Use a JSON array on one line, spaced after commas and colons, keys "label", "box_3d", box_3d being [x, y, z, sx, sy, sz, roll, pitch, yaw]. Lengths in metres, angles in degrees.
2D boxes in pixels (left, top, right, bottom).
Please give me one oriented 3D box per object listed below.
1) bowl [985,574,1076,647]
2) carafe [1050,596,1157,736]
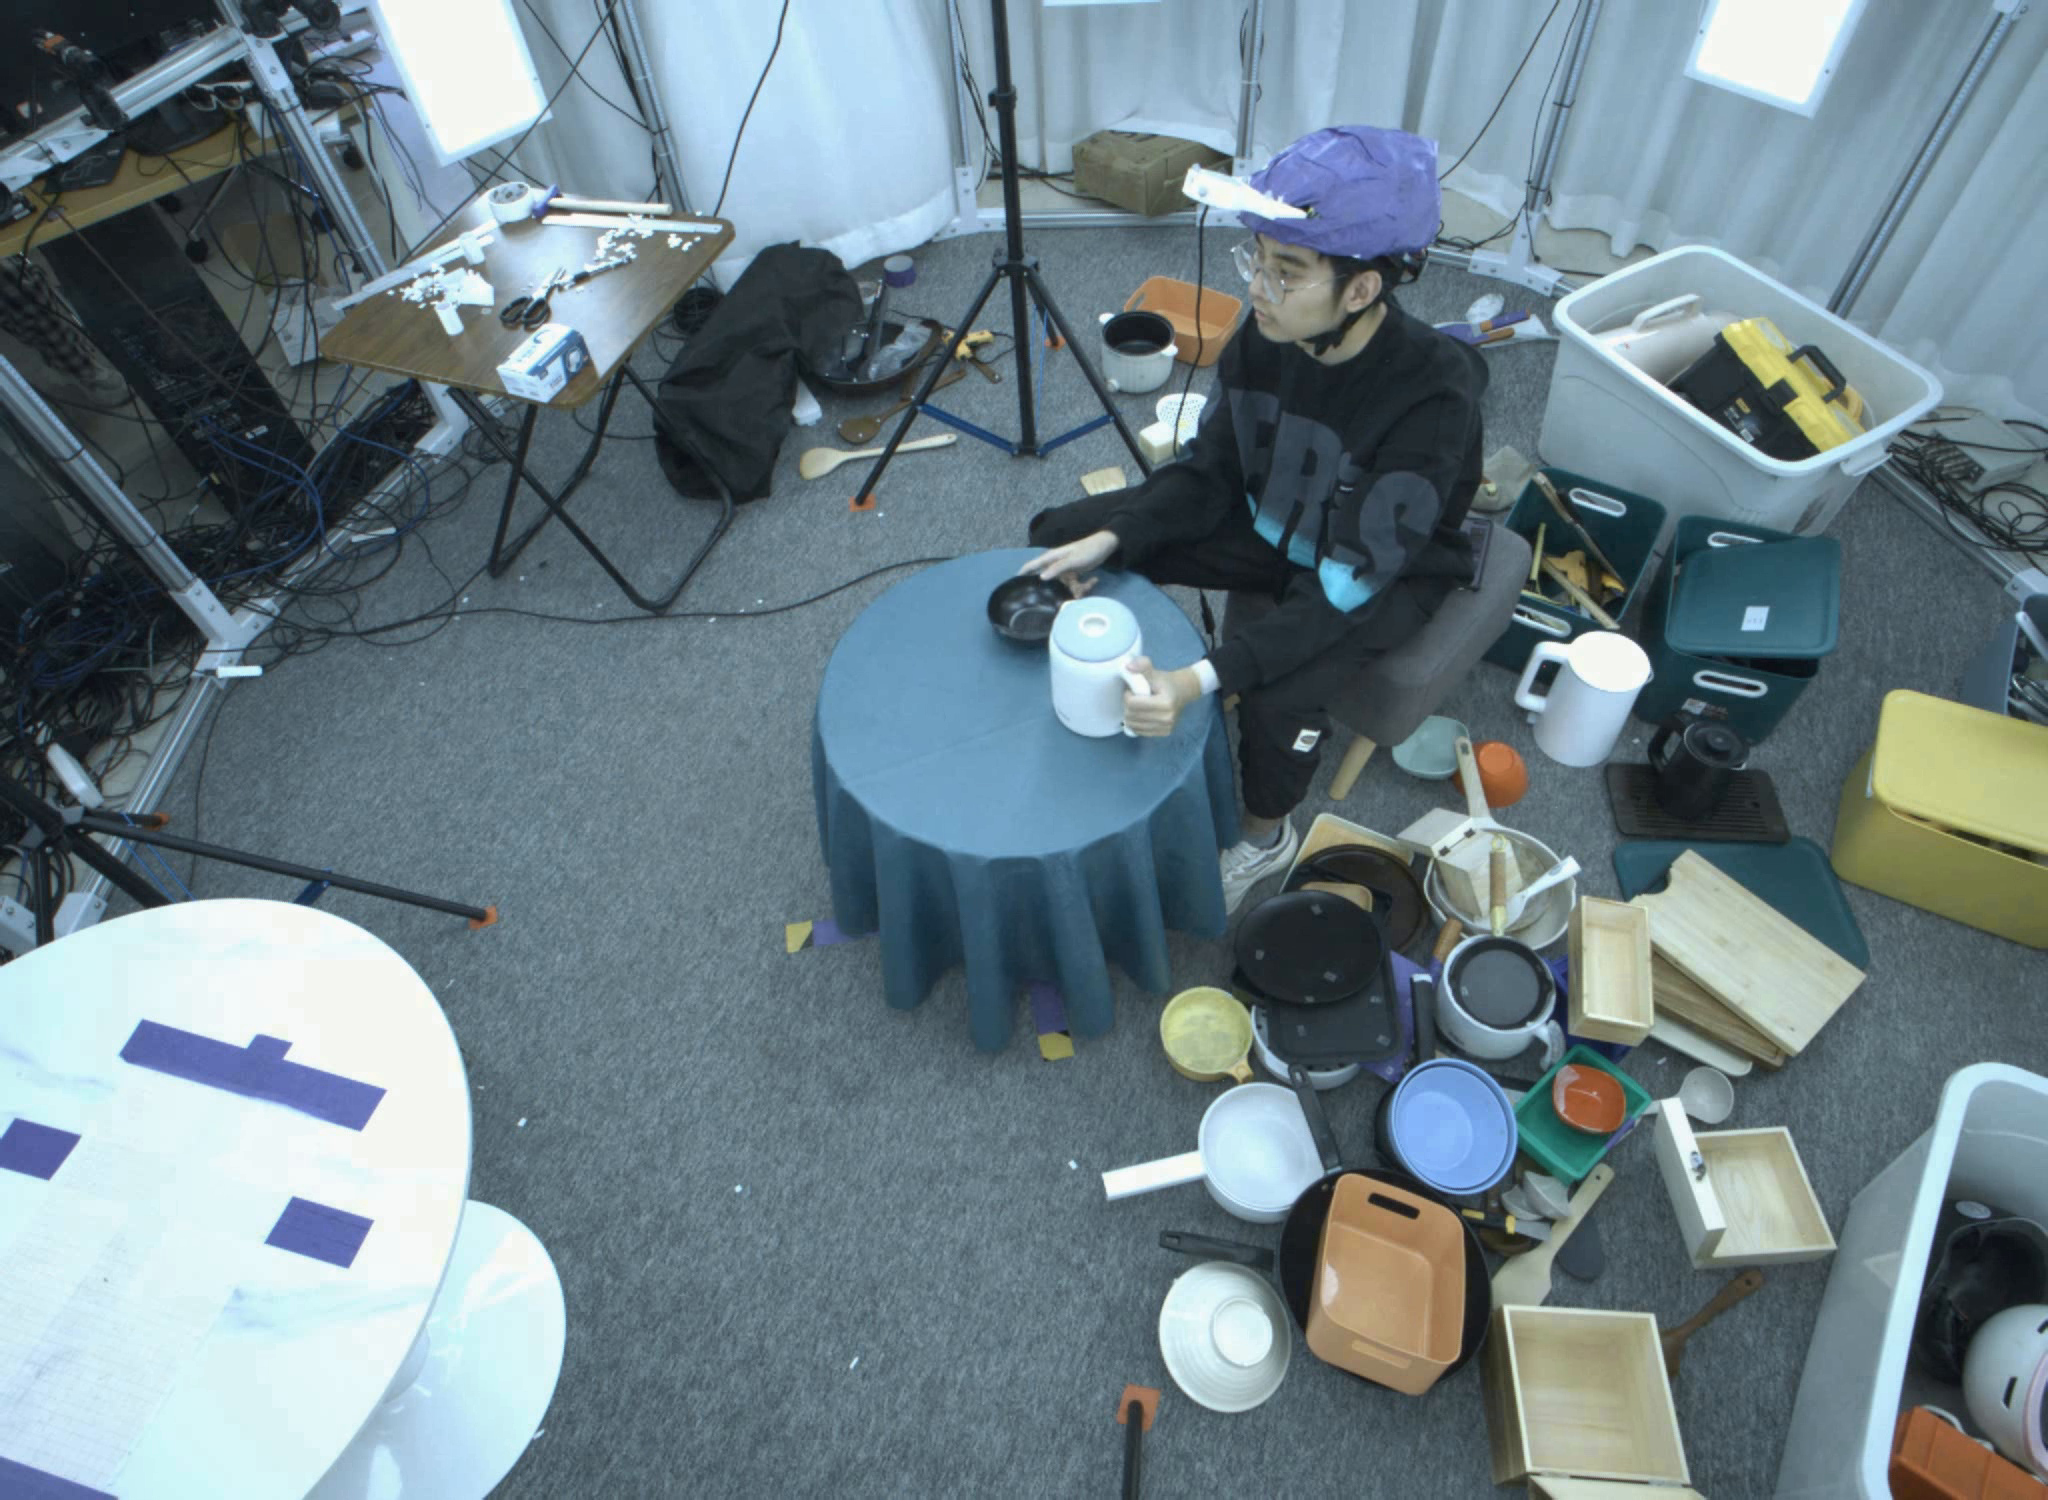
[{"label": "bowl", "box_3d": [0.011, -0.207, 1.900, 0.140, 0.050, 0.138, 1, 53, 0]}, {"label": "carafe", "box_3d": [0.119, -0.104, 1.748, 0.133, 0.184, 0.188, -35, 62, -19]}]
